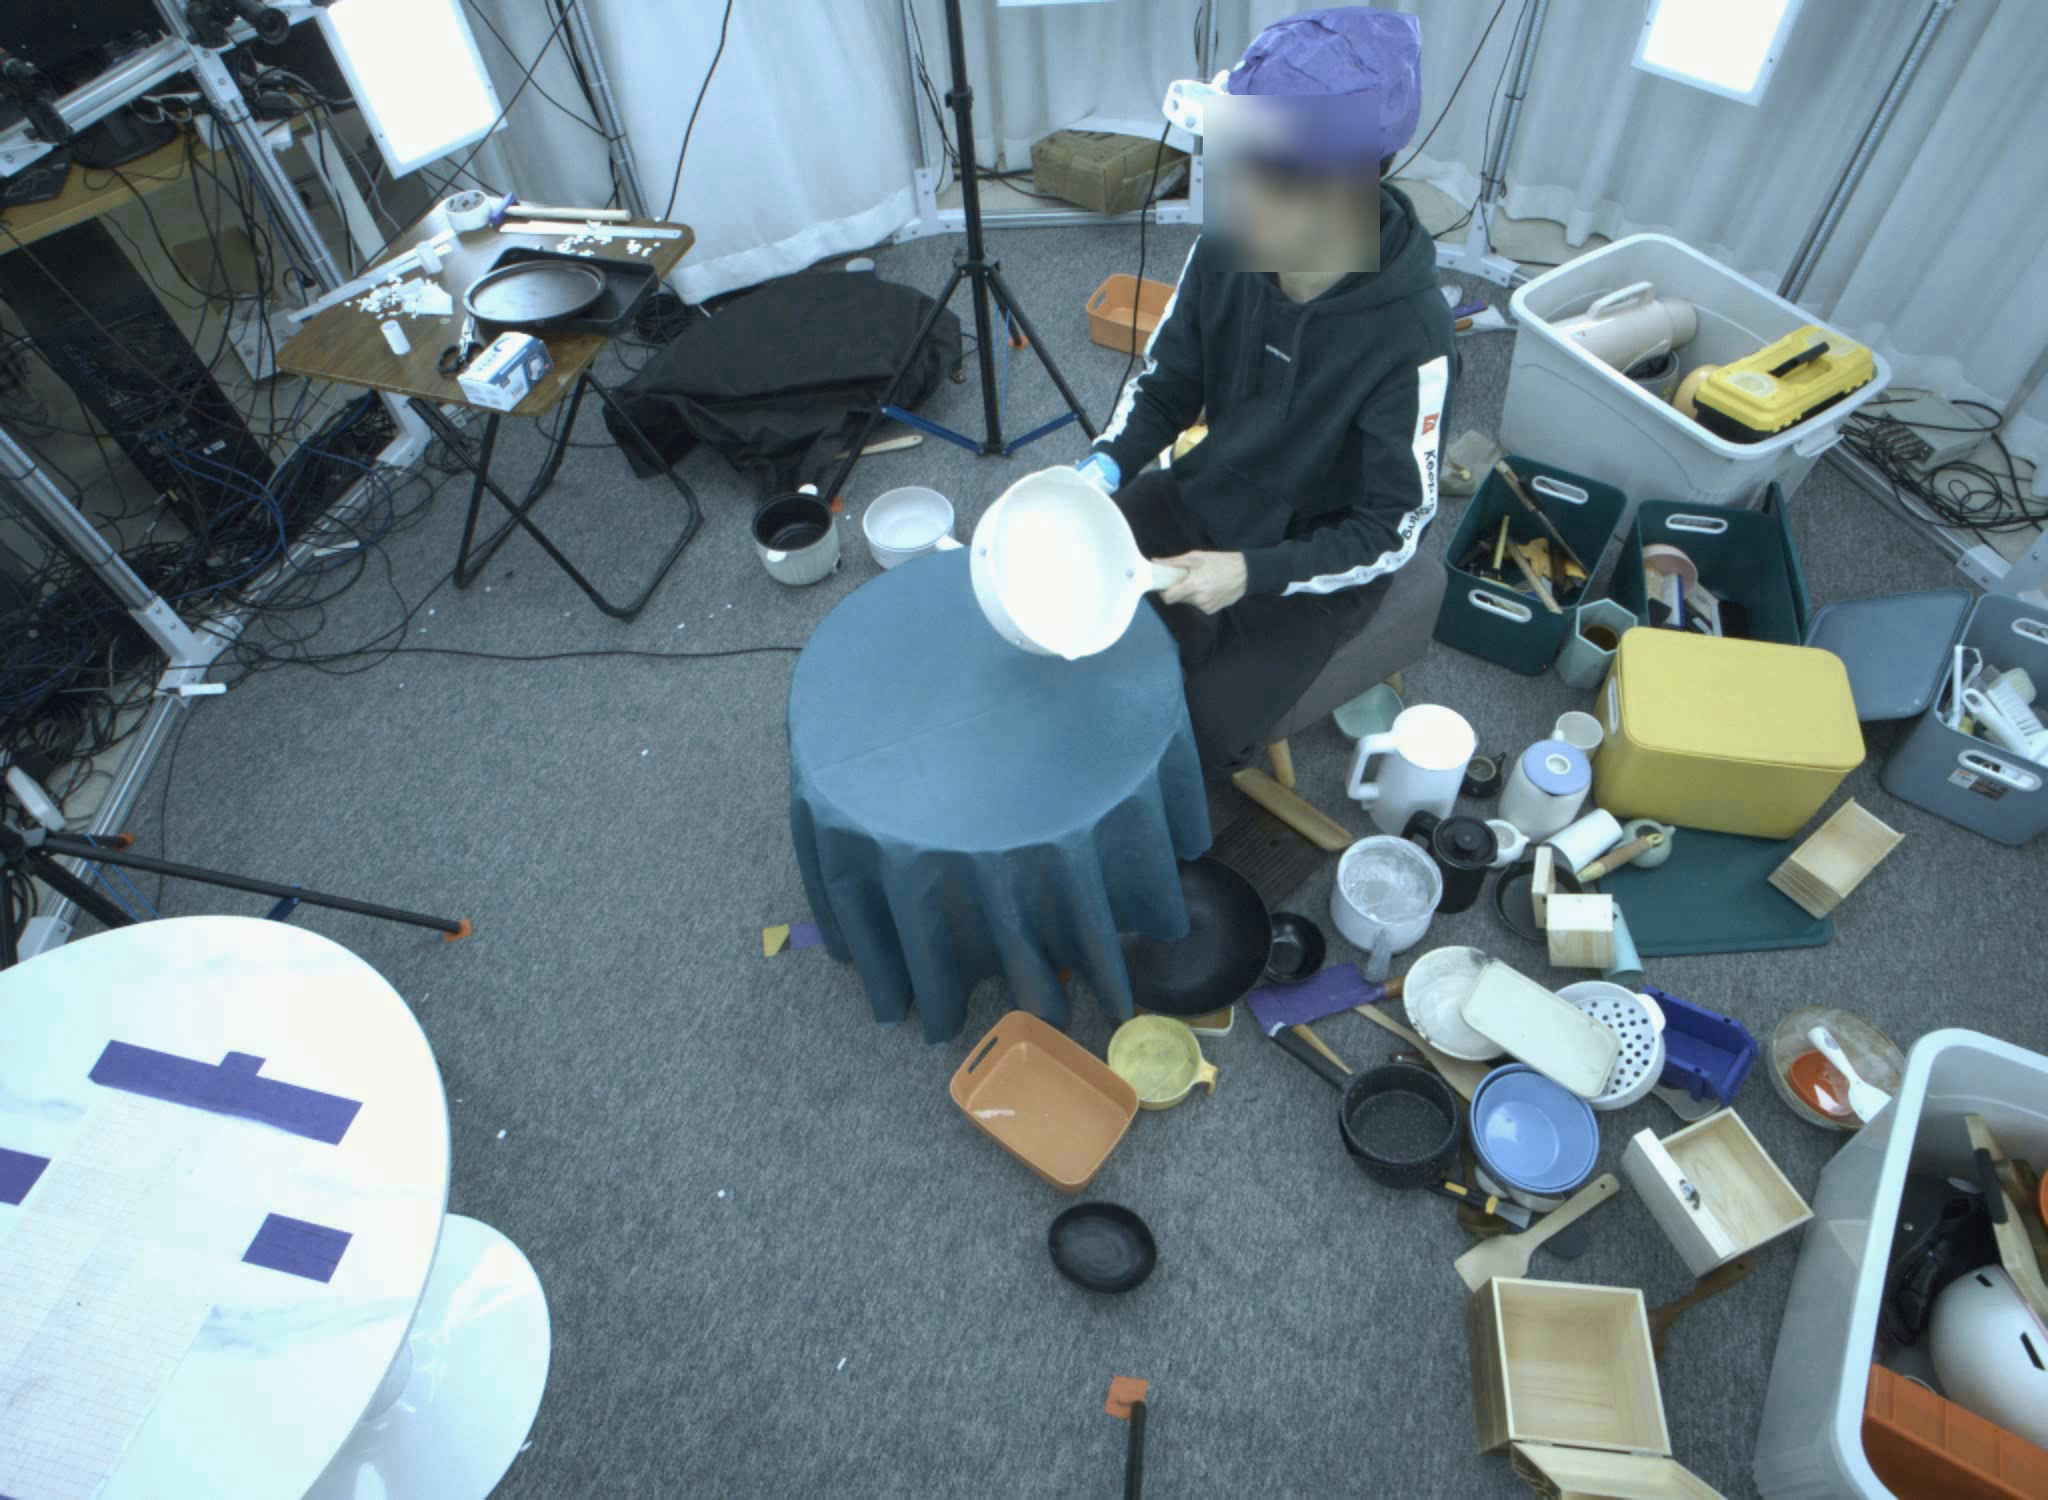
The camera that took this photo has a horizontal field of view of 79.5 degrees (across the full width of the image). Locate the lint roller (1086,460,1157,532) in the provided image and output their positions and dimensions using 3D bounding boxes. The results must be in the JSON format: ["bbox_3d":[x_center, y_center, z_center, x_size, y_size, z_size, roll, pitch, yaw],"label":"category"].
[{"bbox_3d":[0.109,-0.351,1.799,0.068,0.227,0.181,53,25,-6],"label":"lint roller"}]

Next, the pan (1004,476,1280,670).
[{"bbox_3d":[0.162,-0.228,1.699,0.444,0.100,0.262,2,83,-35],"label":"pan"}]
